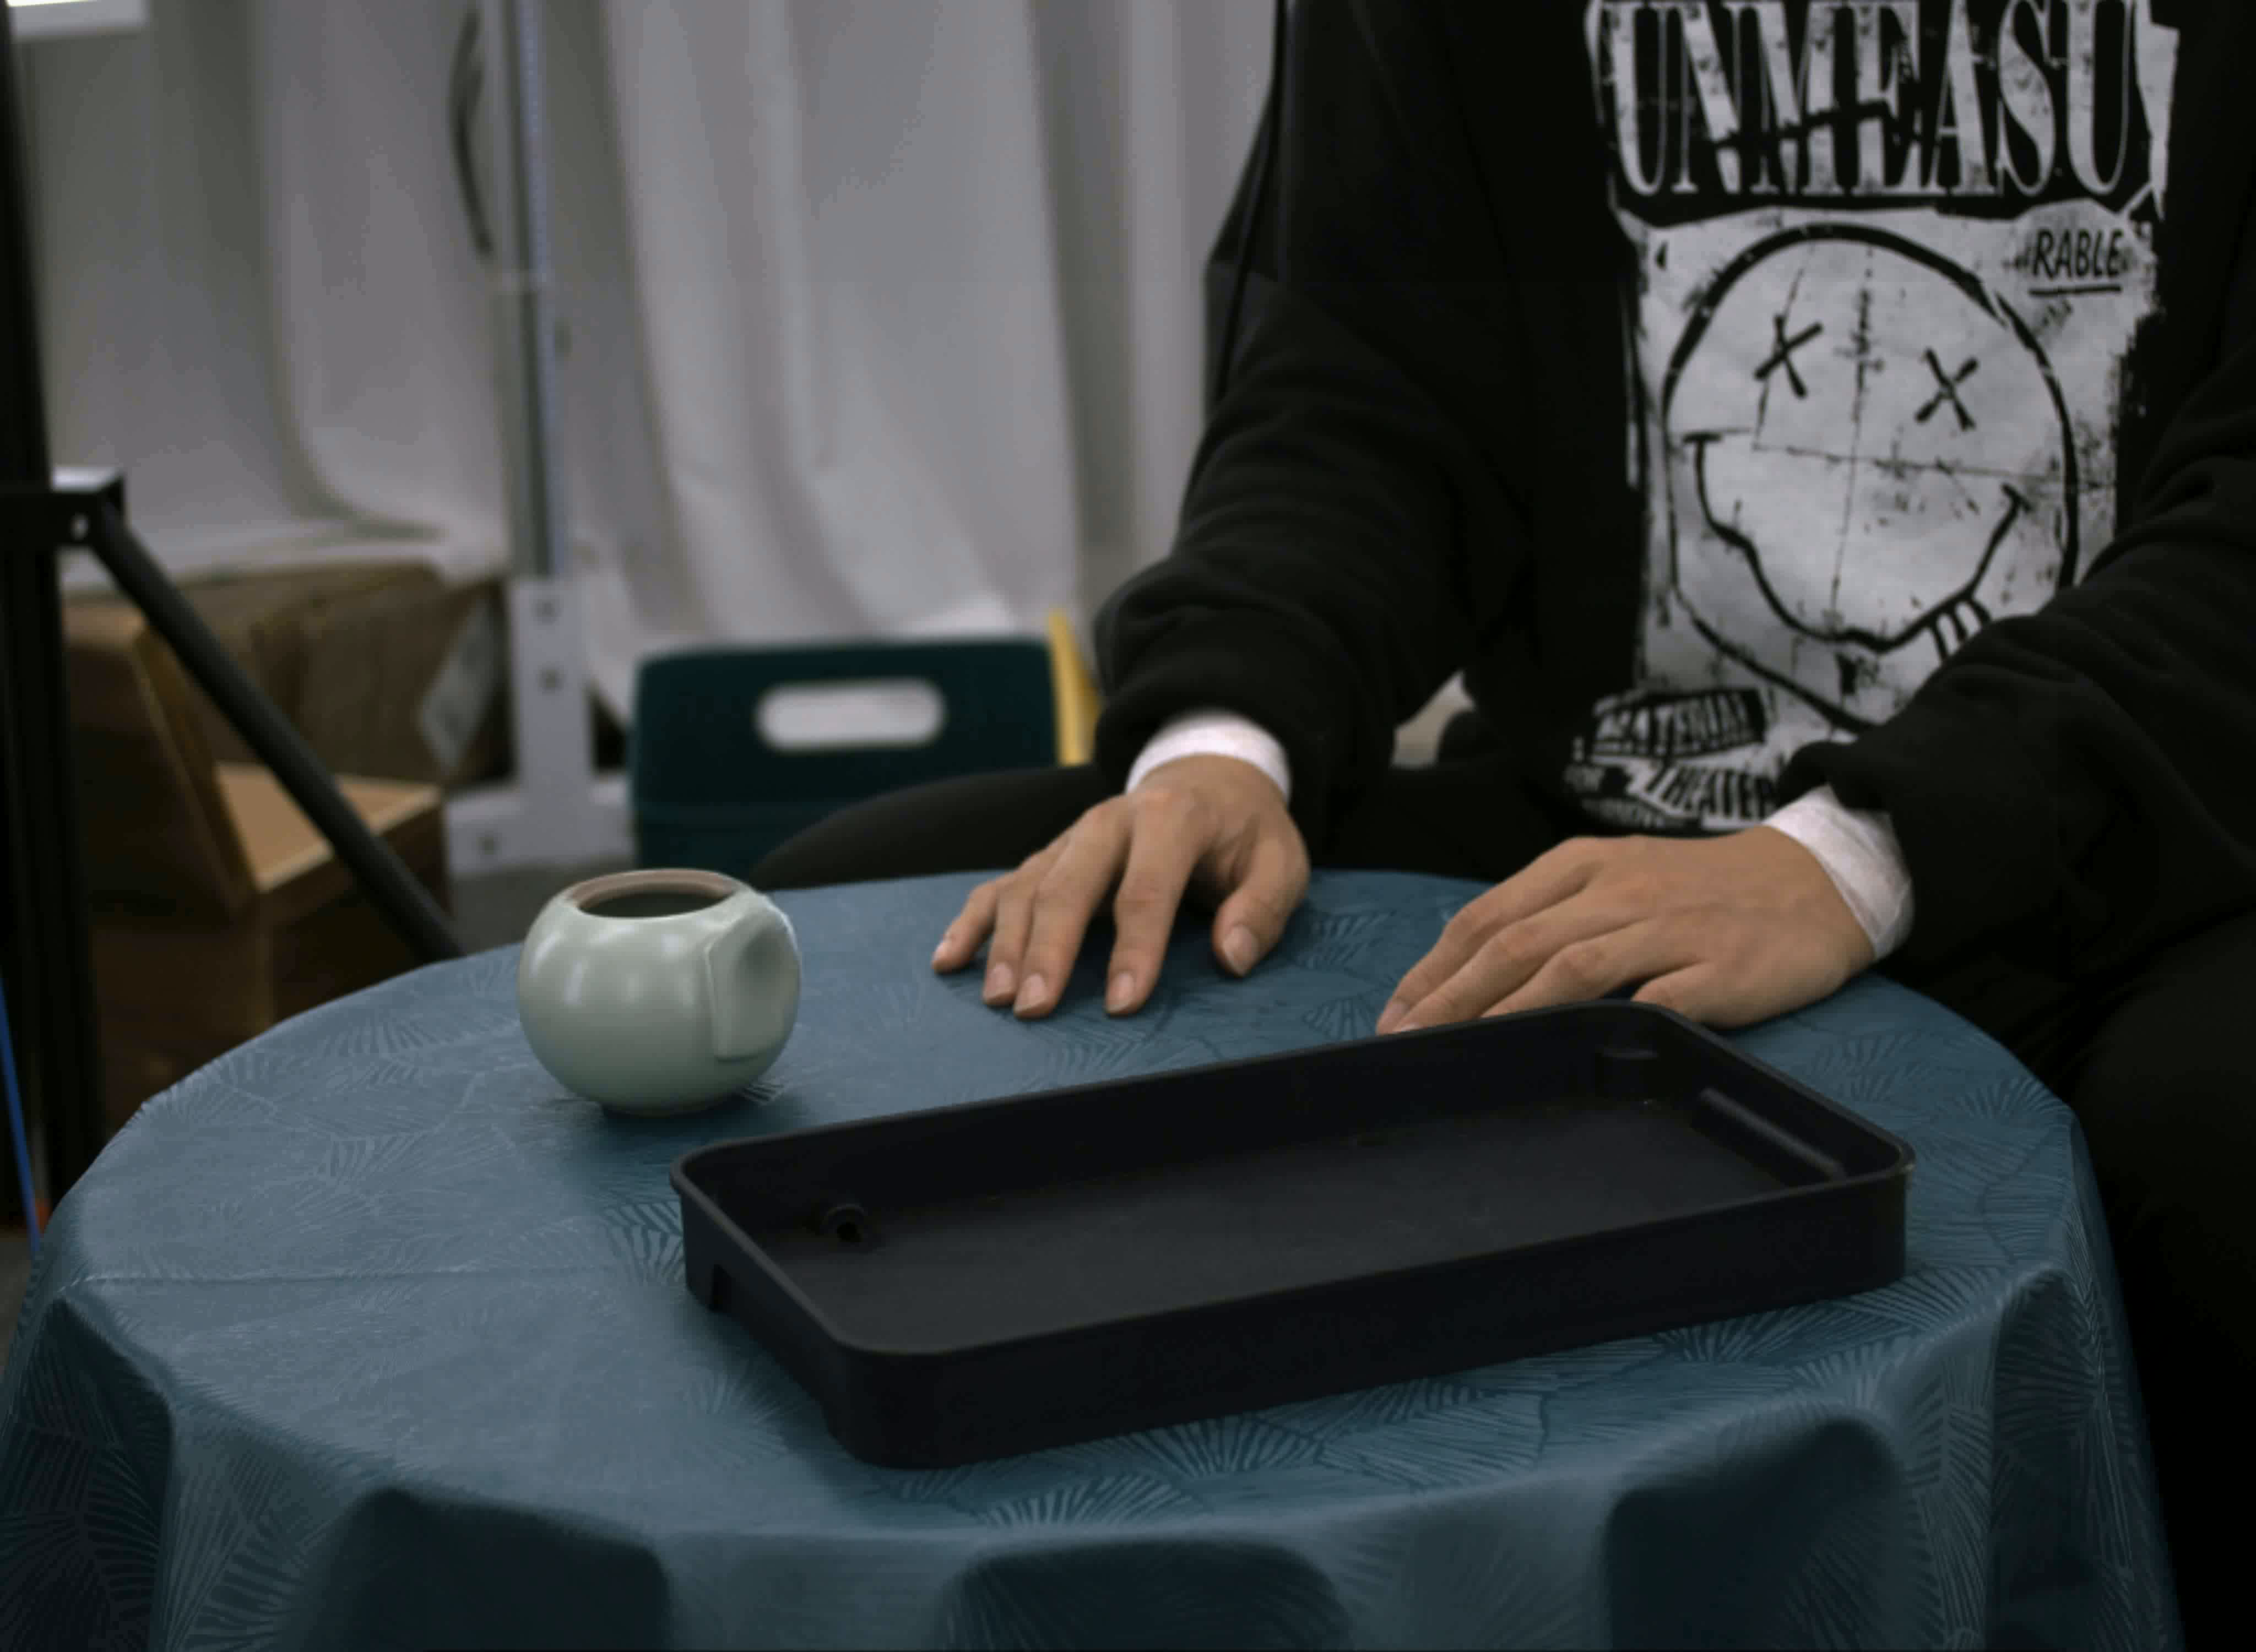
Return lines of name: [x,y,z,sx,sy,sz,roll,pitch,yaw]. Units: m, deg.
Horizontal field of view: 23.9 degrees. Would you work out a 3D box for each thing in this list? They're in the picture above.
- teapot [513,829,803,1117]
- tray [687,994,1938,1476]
teapot: [-0.145,0.049,1.655,0.086,0.075,0.147,-13,20,-36]
tray: [0.051,0.109,1.478,0.312,0.037,0.188,-9,17,-21]
